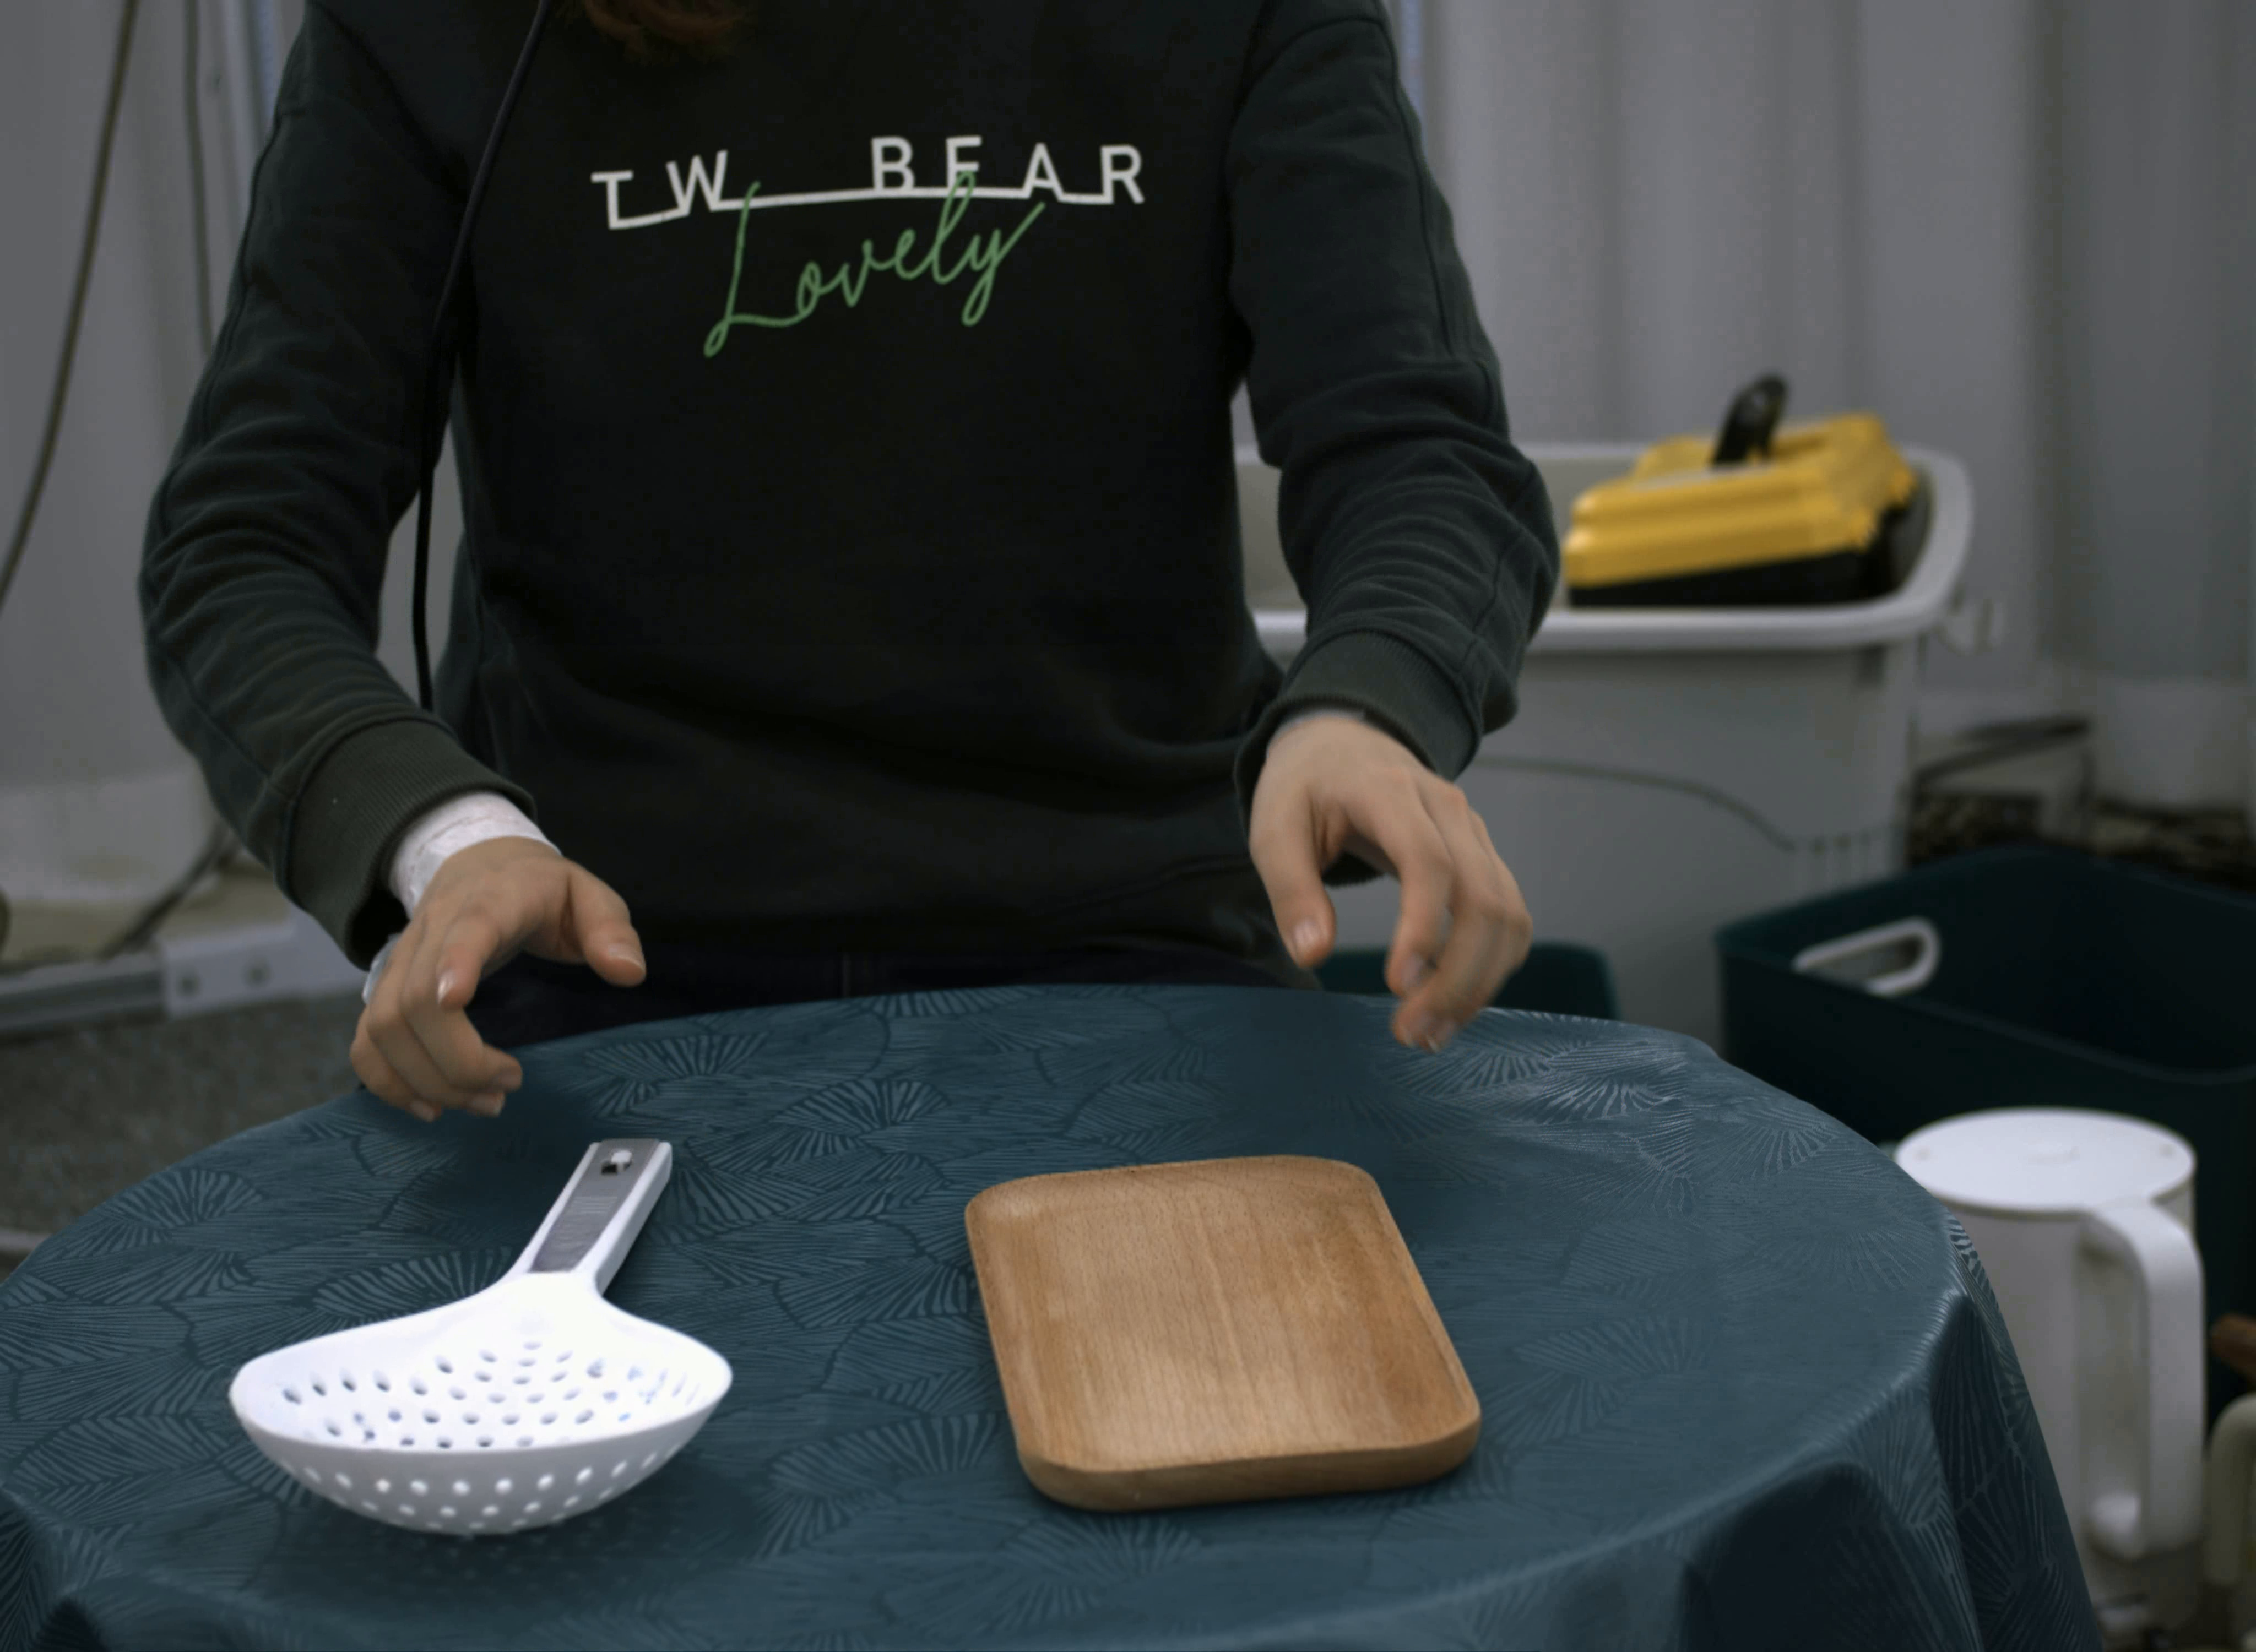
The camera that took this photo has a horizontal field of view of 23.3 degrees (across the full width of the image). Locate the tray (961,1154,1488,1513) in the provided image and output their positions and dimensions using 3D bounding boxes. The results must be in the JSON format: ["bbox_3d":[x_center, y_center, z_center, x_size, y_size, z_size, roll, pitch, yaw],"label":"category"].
[{"bbox_3d":[0.023,0.143,1.572,0.130,0.023,0.252,-2,14,-5],"label":"tray"}]

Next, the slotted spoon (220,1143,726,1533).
[{"bbox_3d":[-0.168,0.138,1.573,0.135,0.045,0.352,1,14,3],"label":"slotted spoon"}]
